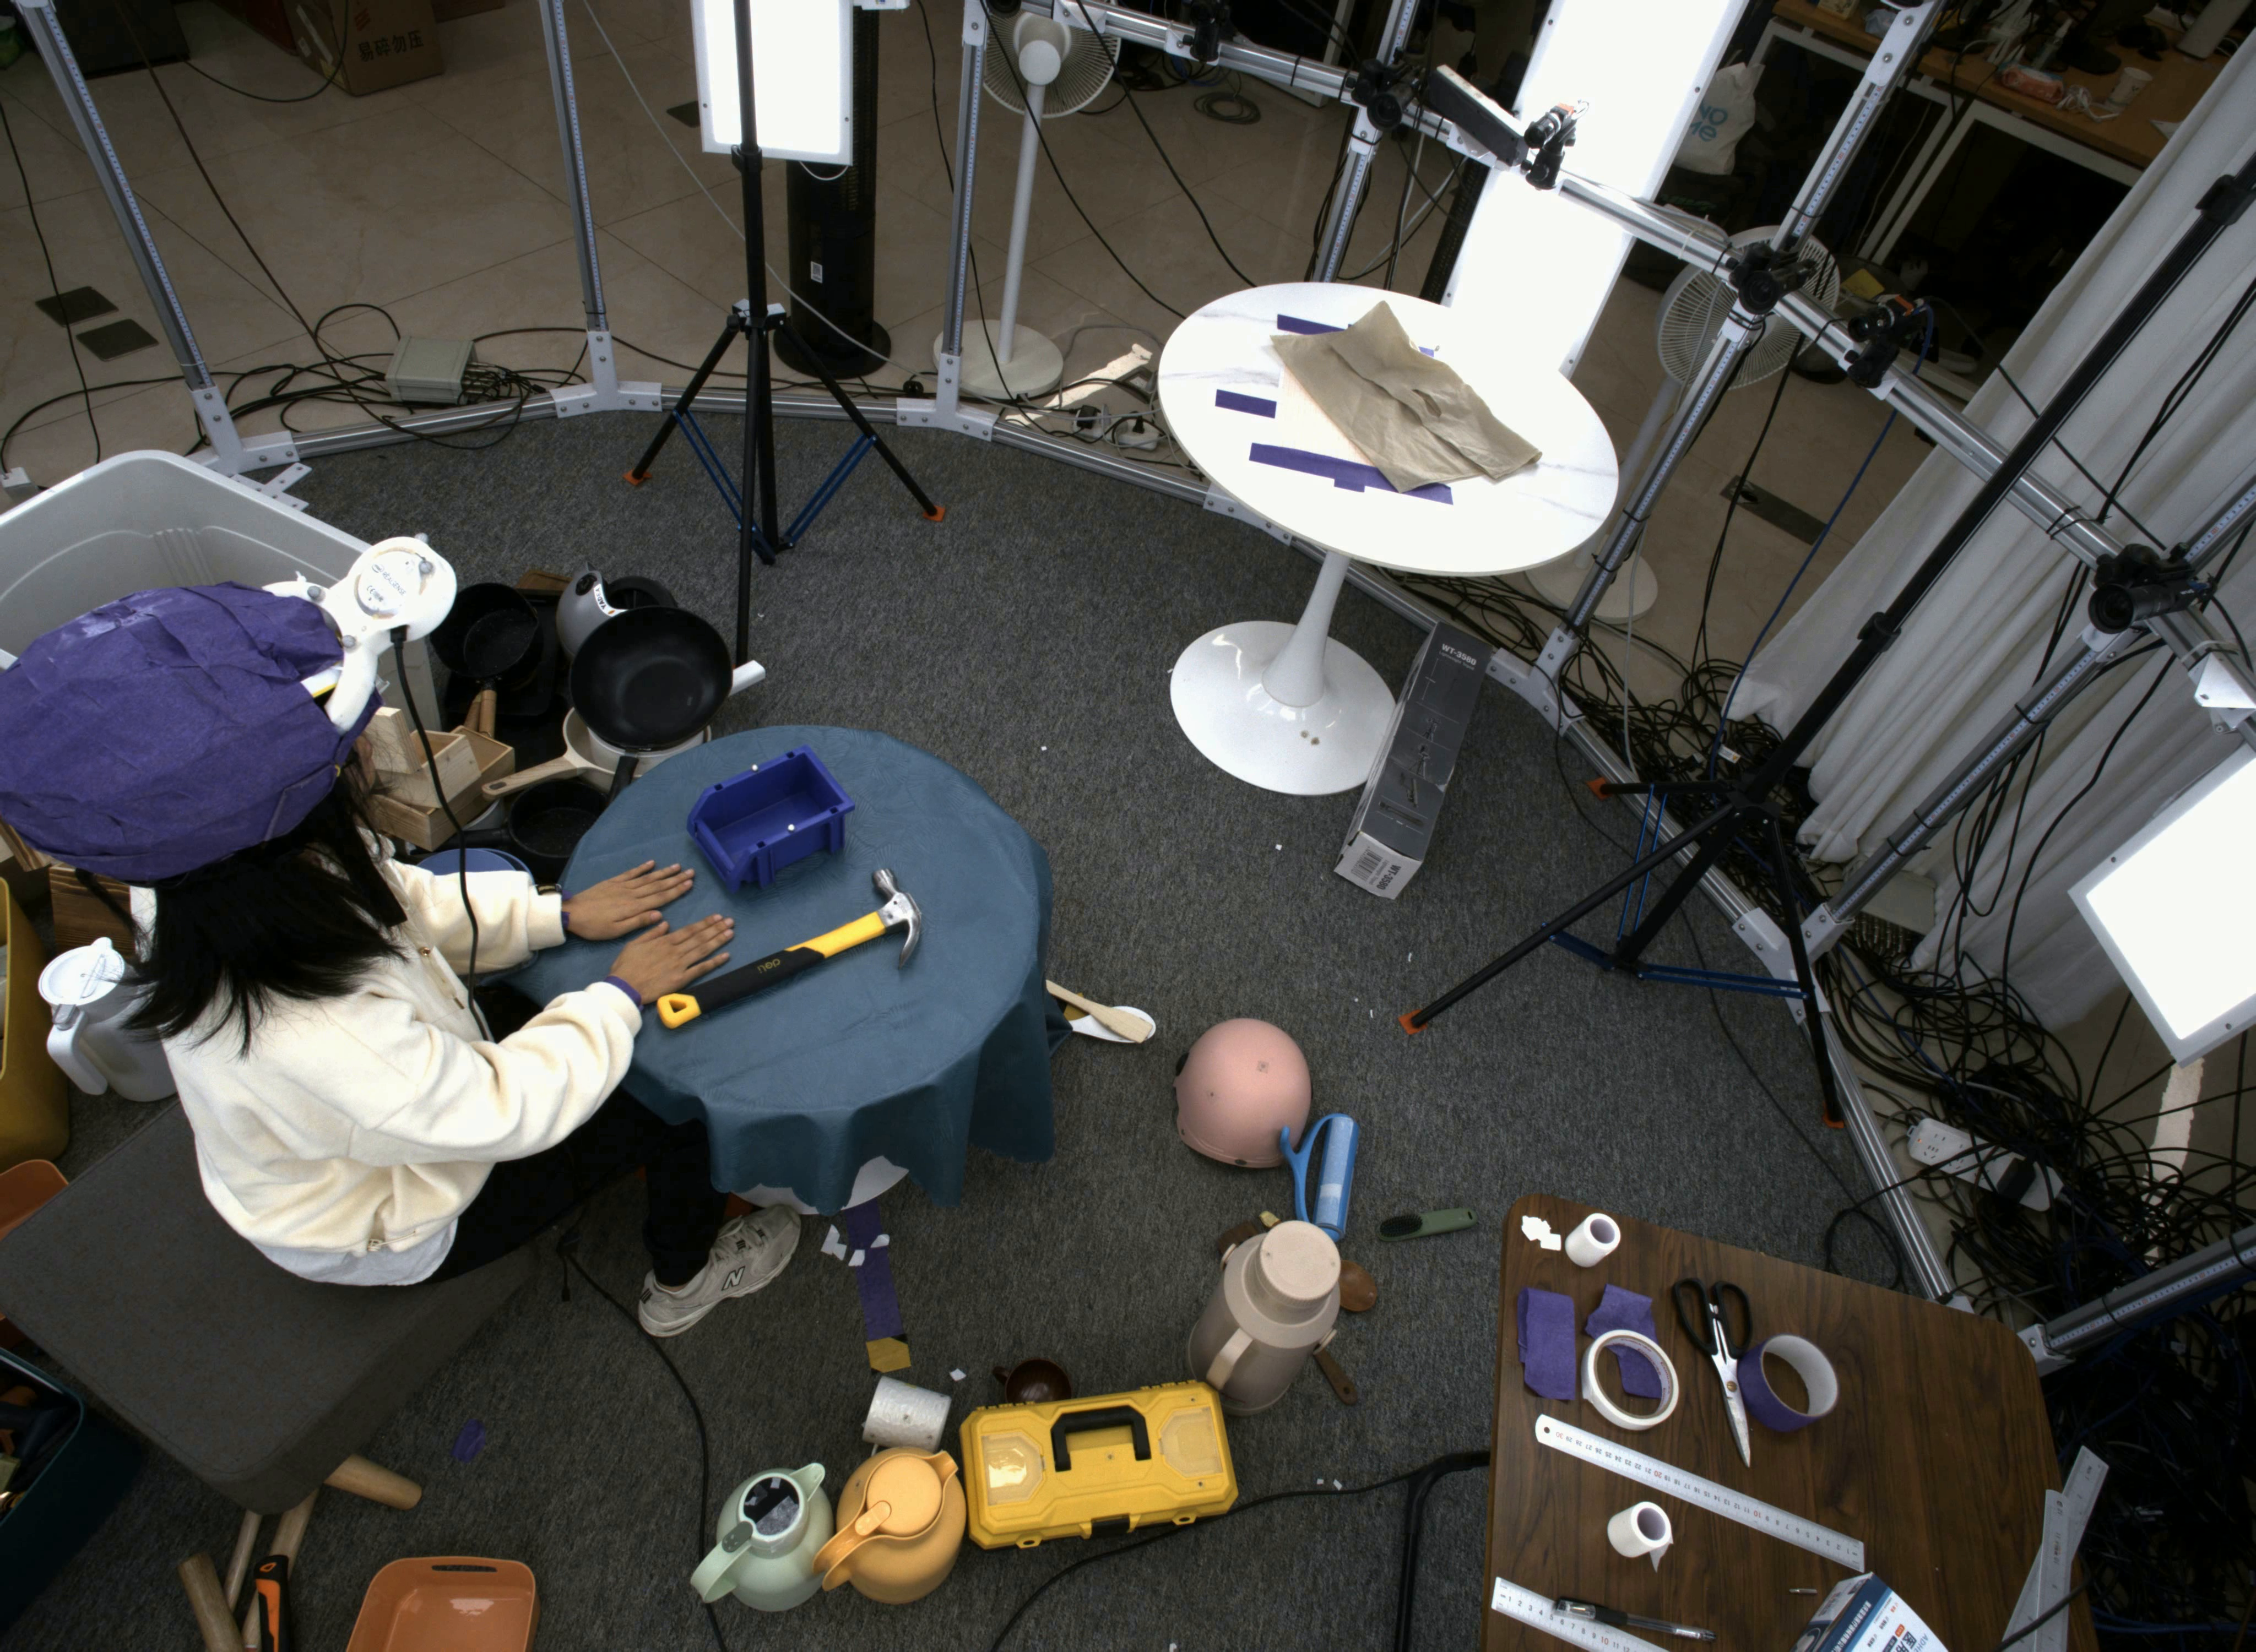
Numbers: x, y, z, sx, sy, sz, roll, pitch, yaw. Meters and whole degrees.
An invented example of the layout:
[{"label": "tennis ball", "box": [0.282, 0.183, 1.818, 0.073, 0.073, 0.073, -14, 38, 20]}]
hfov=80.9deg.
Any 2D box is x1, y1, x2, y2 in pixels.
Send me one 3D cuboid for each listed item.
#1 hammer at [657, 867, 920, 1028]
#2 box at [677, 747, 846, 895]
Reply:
[{"label": "hammer", "box": [-0.410, 0.159, 1.581, 0.340, 0.033, 0.128, -23, 64, -28]}, {"label": "box", "box": [-0.469, -0.003, 1.657, 0.180, 0.083, 0.121, -27, 64, -32]}]
